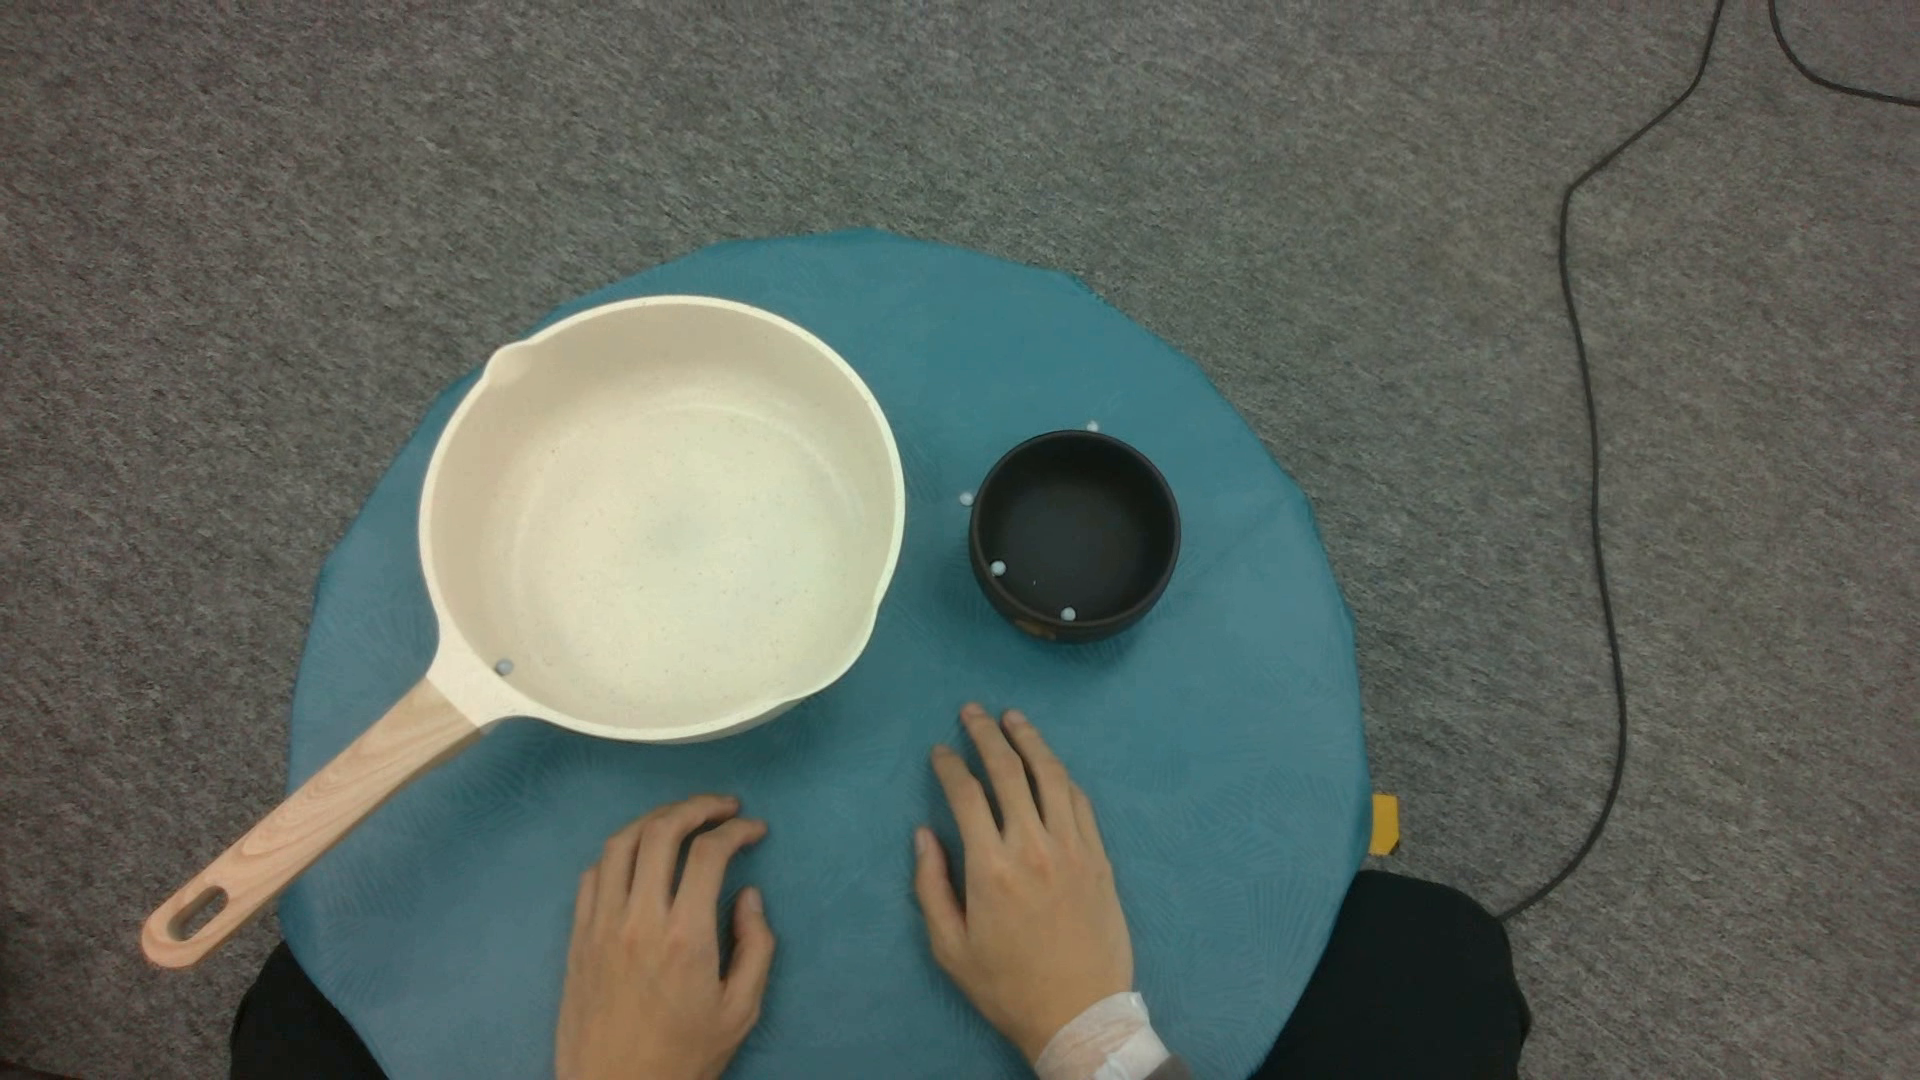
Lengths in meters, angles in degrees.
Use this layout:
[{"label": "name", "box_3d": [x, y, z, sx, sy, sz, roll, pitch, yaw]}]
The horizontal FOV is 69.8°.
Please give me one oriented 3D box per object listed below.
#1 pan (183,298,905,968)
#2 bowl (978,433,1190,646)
[{"label": "pan", "box_3d": [-0.217, 0.056, 0.745, 0.263, 0.101, 0.436, 41, 74, 11]}, {"label": "bowl", "box_3d": [0.068, 0.005, 0.786, 0.118, 0.069, 0.118, 1, 70, -2]}]
